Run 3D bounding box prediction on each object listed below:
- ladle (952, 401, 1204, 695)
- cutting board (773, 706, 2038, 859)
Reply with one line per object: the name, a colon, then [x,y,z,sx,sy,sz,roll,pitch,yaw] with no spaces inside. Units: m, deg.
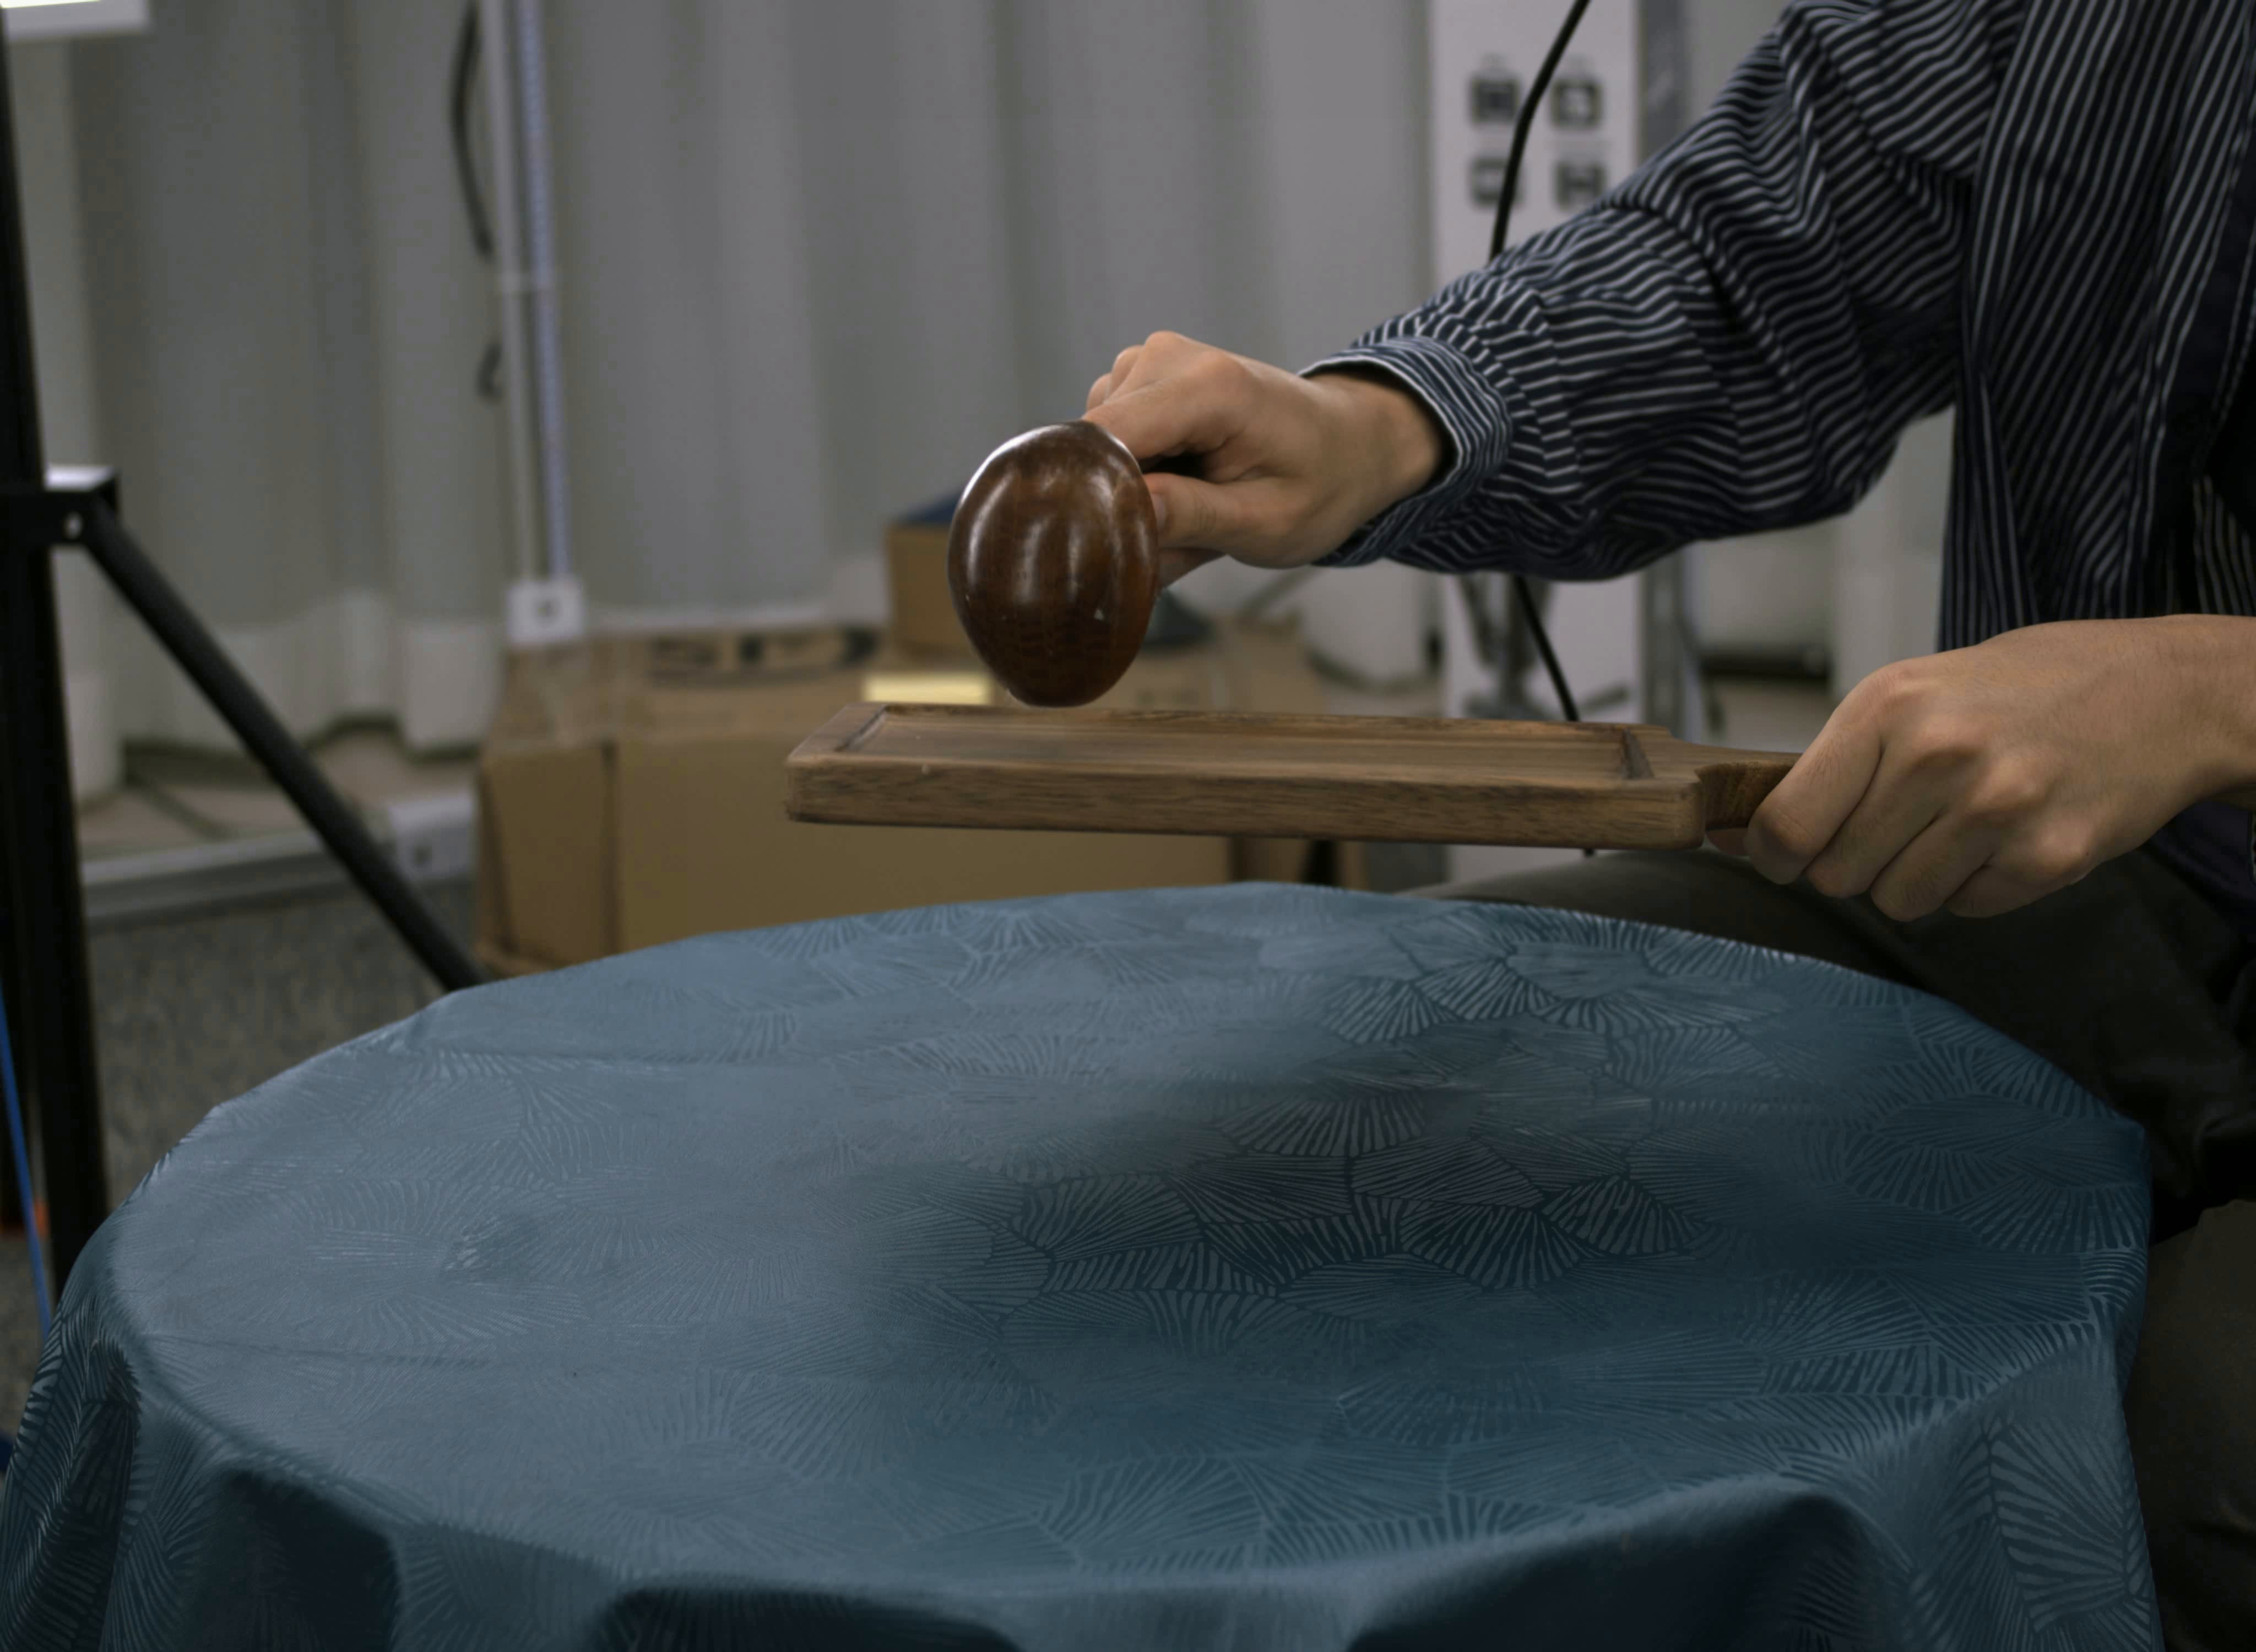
ladle: [0.011,-0.089,1.581,0.077,0.082,0.270,18,10,15]
cutting board: [0.081,-0.012,1.506,0.352,0.023,0.200,2,6,5]
